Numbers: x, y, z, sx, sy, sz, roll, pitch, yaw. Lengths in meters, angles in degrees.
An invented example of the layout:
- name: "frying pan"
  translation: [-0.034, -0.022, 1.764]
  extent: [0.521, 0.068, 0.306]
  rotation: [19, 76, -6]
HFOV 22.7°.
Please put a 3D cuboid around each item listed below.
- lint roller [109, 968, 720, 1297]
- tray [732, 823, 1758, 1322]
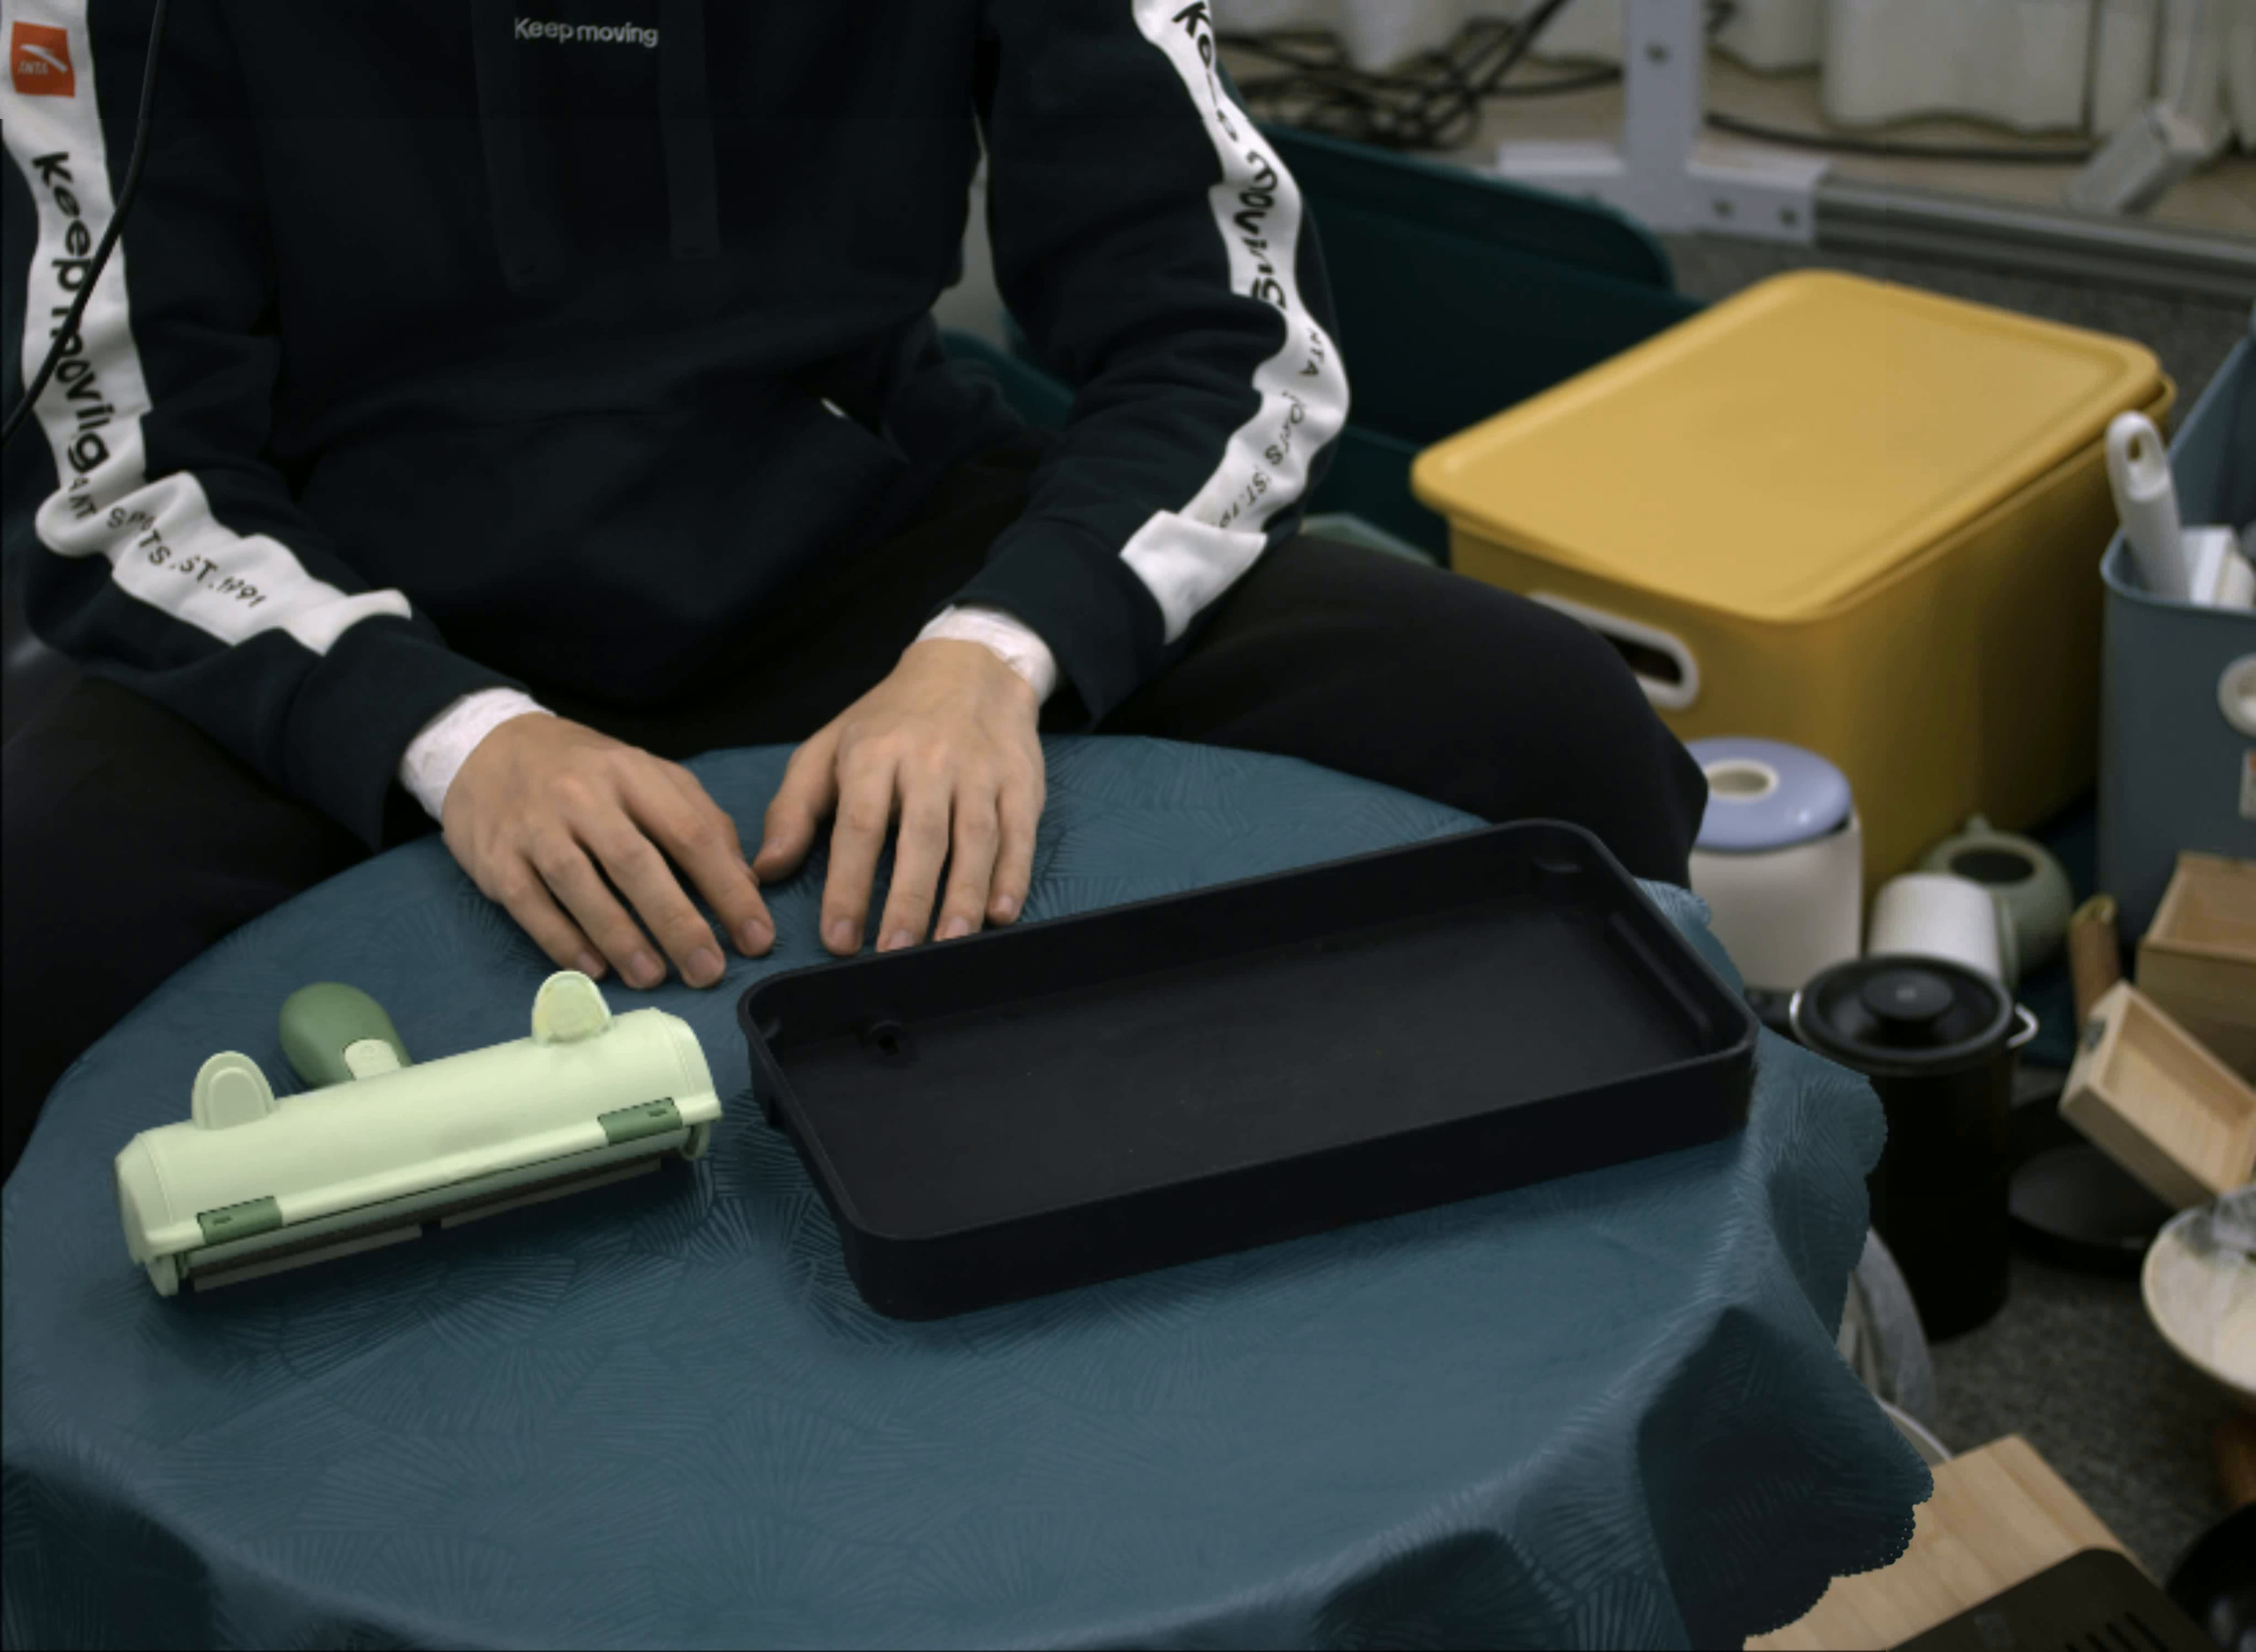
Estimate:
- name: "lint roller"
  translation: [-0.255, 0.076, 1.888]
  extent: [0.199, 0.081, 0.185]
  rotation: [-13, 32, -19]
- name: "tray"
  translation: [0.038, 0.079, 1.900]
  extent: [0.318, 0.036, 0.186]
  rotation: [-11, 28, -15]
